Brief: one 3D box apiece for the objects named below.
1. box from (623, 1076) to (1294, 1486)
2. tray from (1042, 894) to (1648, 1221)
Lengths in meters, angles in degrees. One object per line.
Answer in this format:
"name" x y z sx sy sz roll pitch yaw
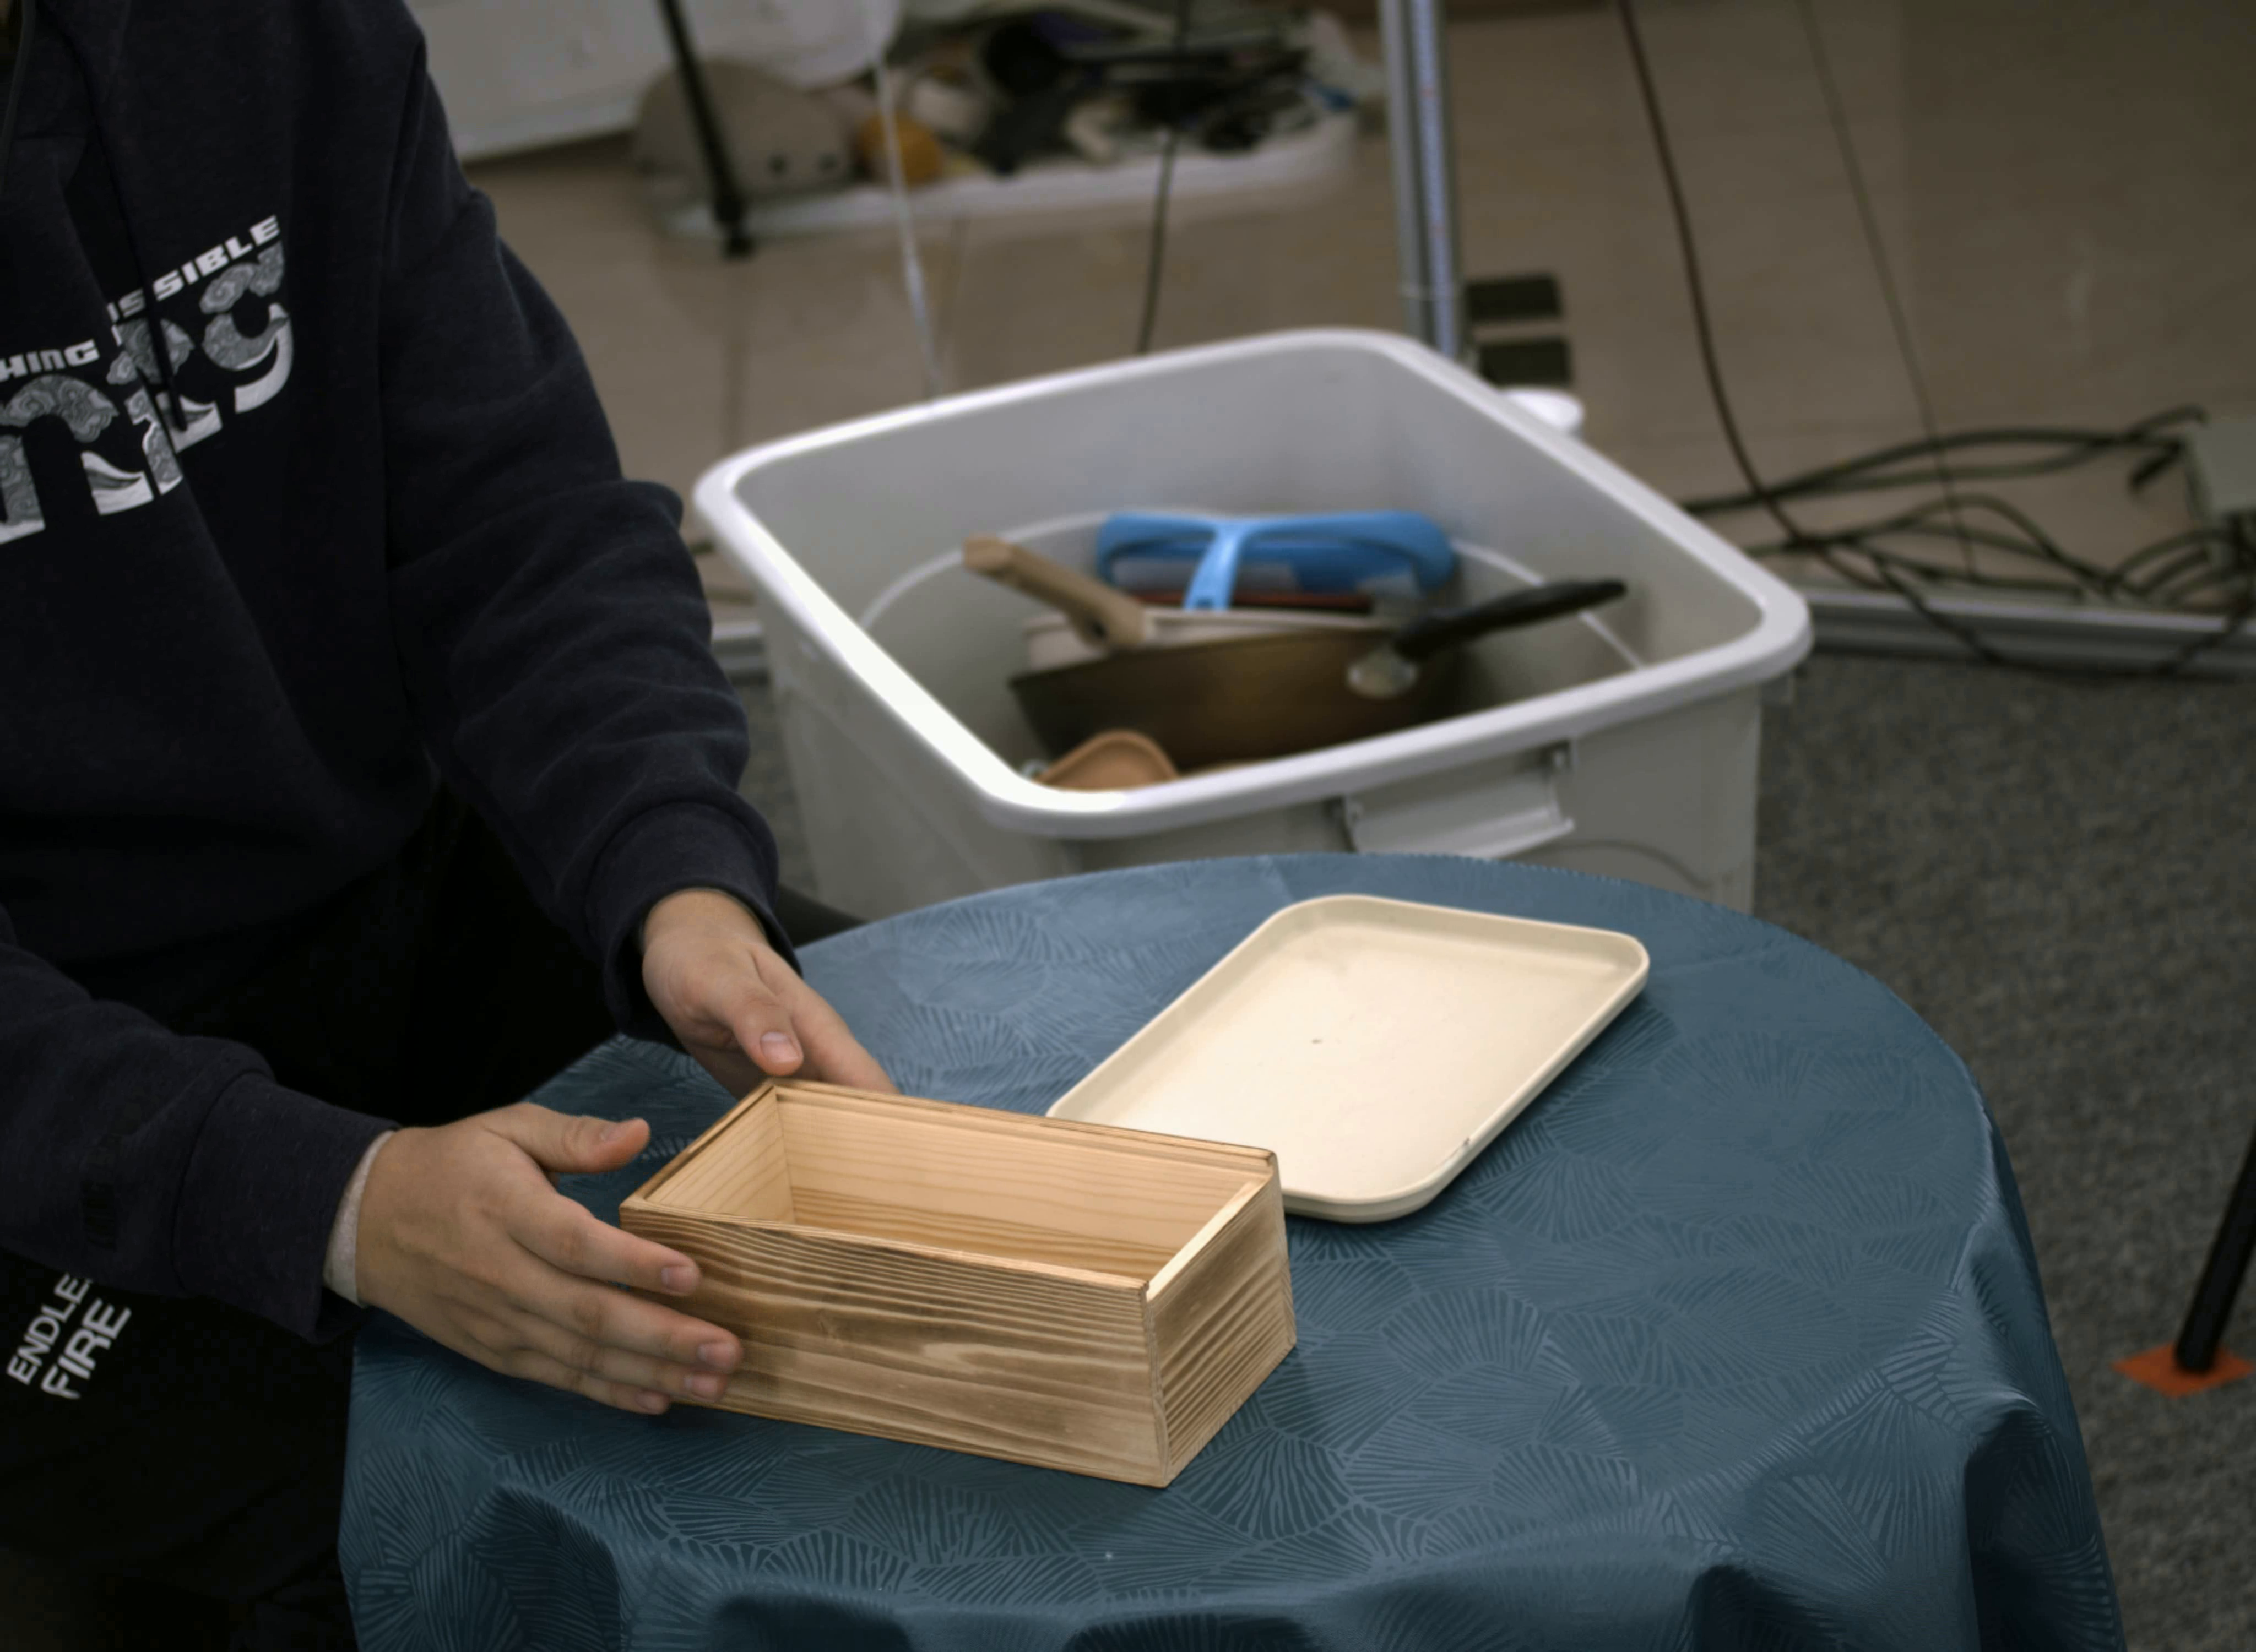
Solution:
"box" -0.060 0.159 2.022 0.210 0.081 0.106 7 28 27
"tray" 0.087 0.089 2.214 0.170 0.018 0.237 8 28 30
